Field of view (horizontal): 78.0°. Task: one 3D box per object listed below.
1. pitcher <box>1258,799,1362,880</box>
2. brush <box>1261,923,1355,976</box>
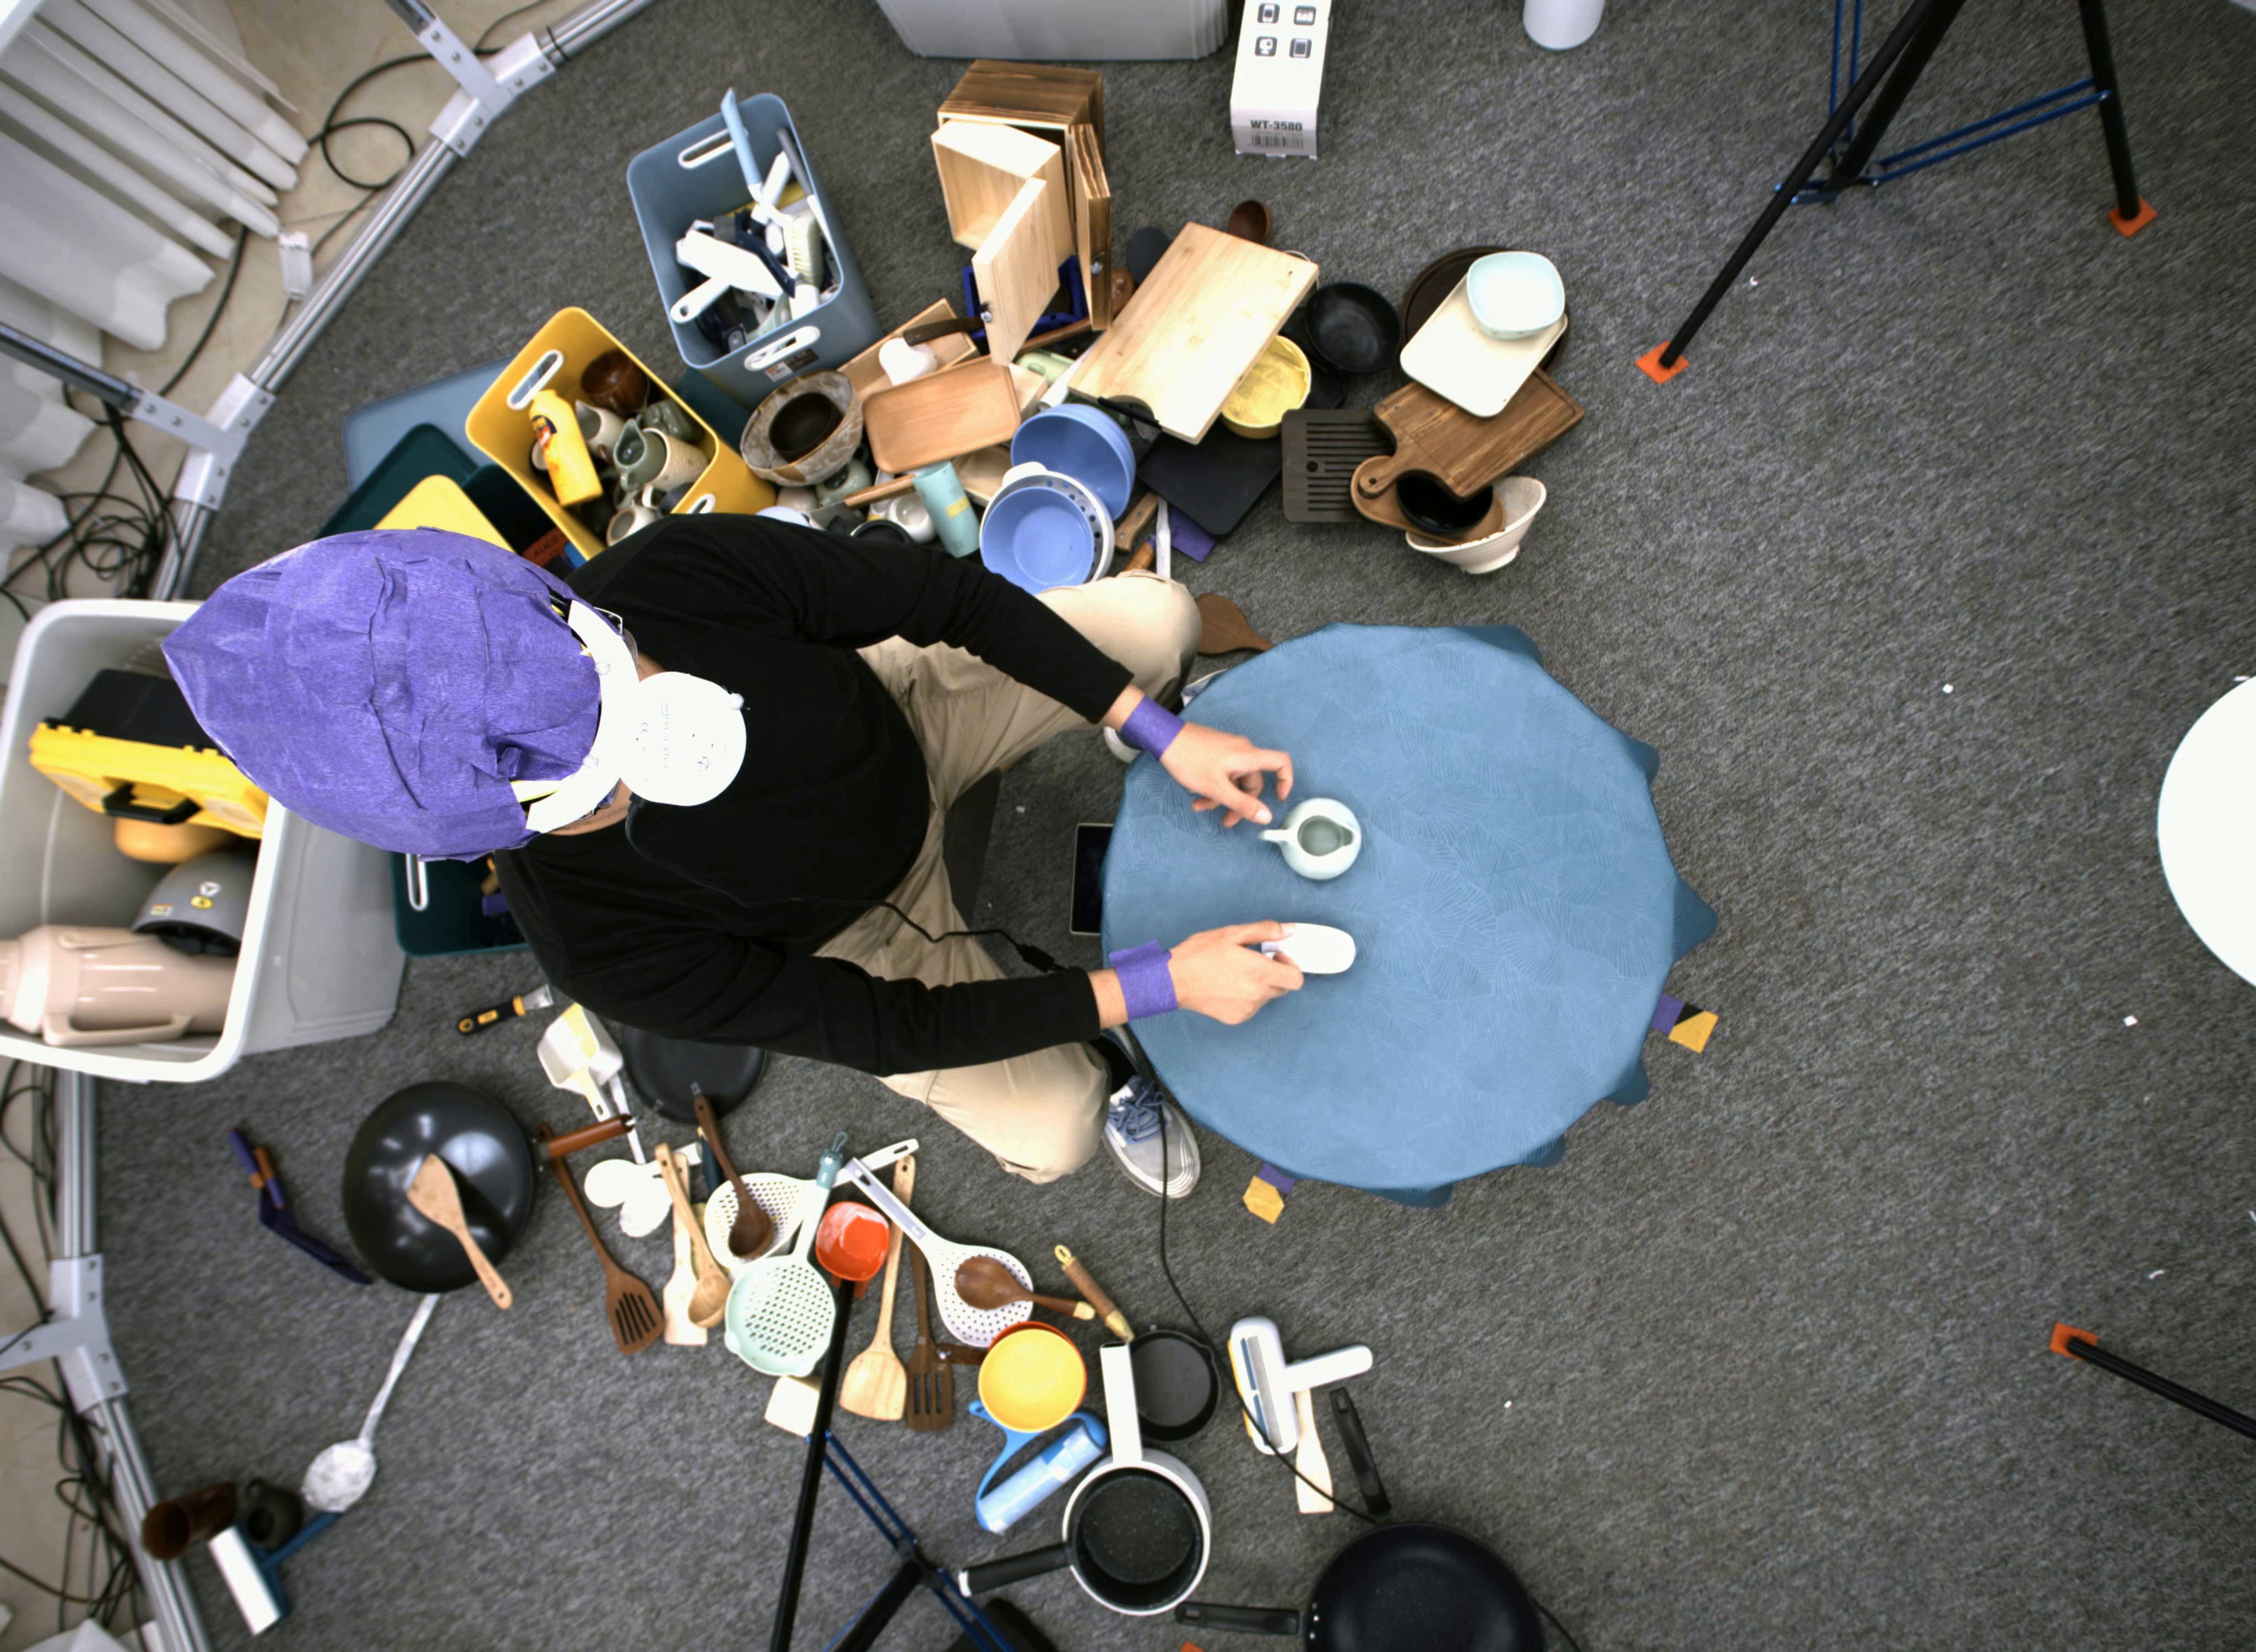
[{"bbox_3d":[0.190,0.013,1.449,0.108,0.060,0.085,-1,85,13],"label":"pitcher"},{"bbox_3d":[0.186,0.126,1.434,0.099,0.072,0.050,9,86,9],"label":"brush"}]
